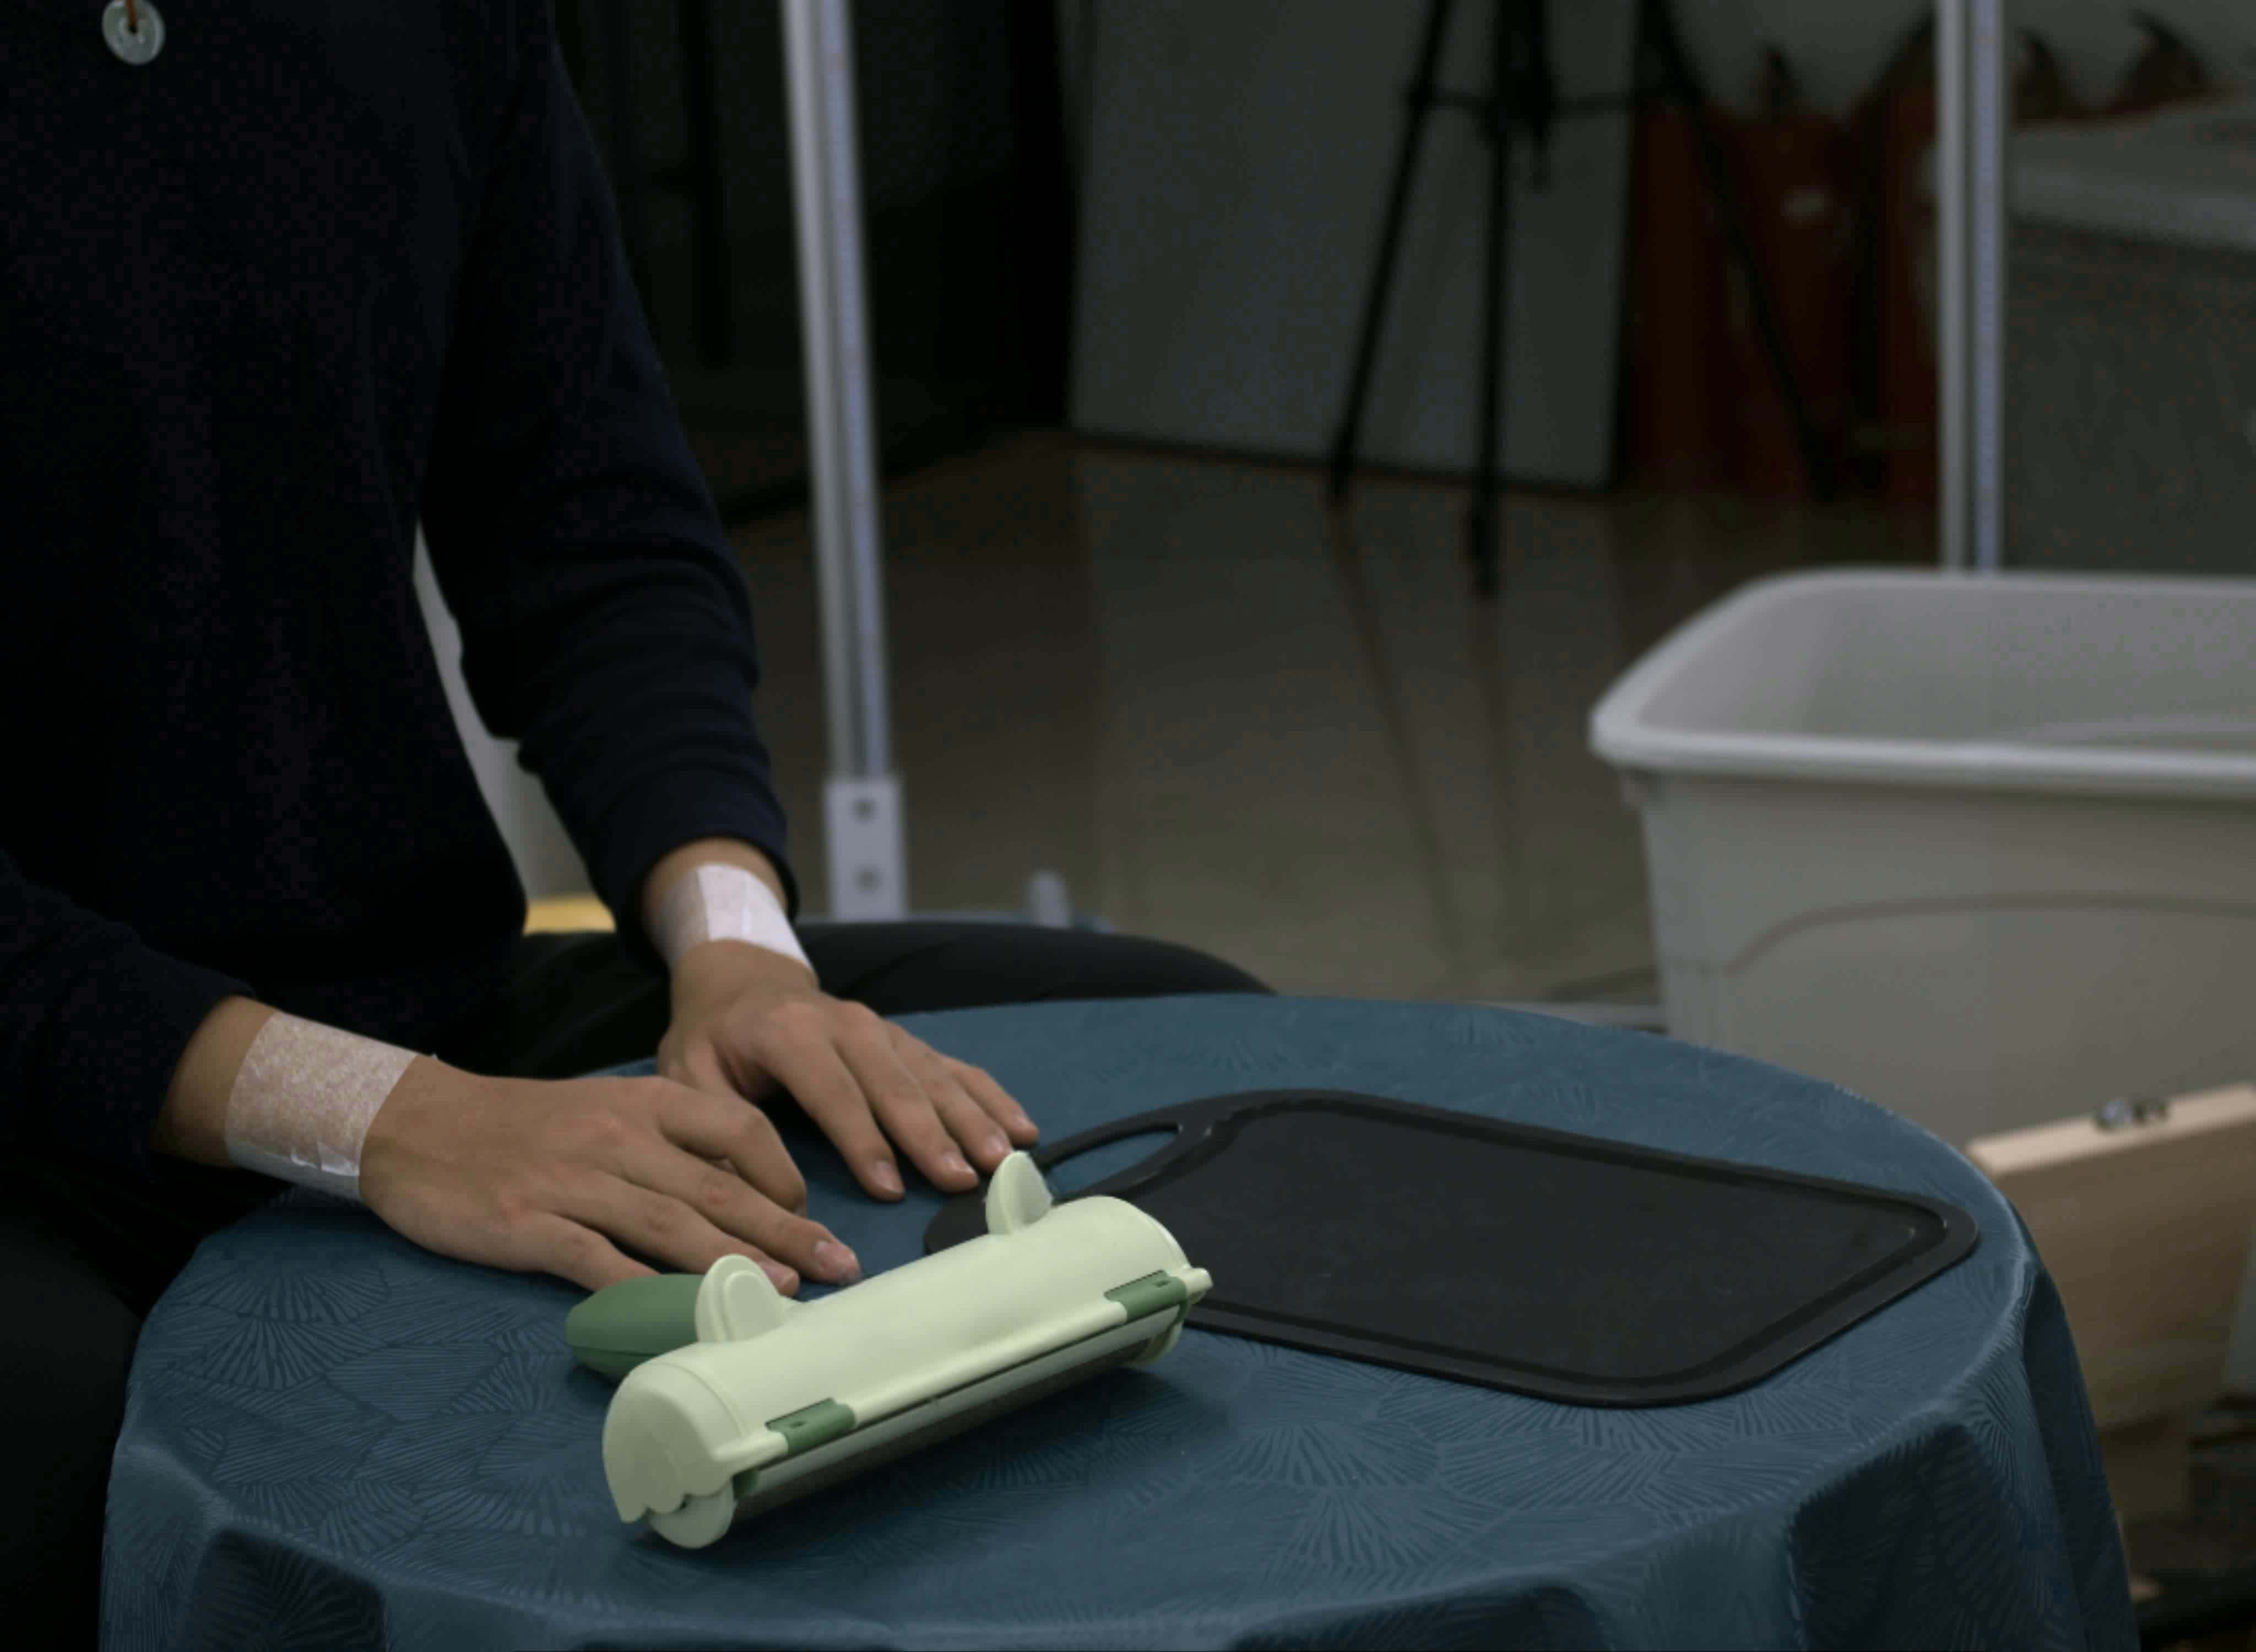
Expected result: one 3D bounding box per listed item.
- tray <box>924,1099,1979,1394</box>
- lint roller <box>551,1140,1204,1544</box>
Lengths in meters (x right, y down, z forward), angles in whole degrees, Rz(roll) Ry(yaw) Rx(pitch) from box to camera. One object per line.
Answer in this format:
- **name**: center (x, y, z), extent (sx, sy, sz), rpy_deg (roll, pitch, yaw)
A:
- **tray**: center (0.093, 0.128, 1.703), extent (0.328, 0.010, 0.207), rpy_deg (7, 18, 39)
- **lint roller**: center (-0.104, 0.133, 1.573), extent (0.185, 0.083, 0.194), rpy_deg (17, 23, 41)
